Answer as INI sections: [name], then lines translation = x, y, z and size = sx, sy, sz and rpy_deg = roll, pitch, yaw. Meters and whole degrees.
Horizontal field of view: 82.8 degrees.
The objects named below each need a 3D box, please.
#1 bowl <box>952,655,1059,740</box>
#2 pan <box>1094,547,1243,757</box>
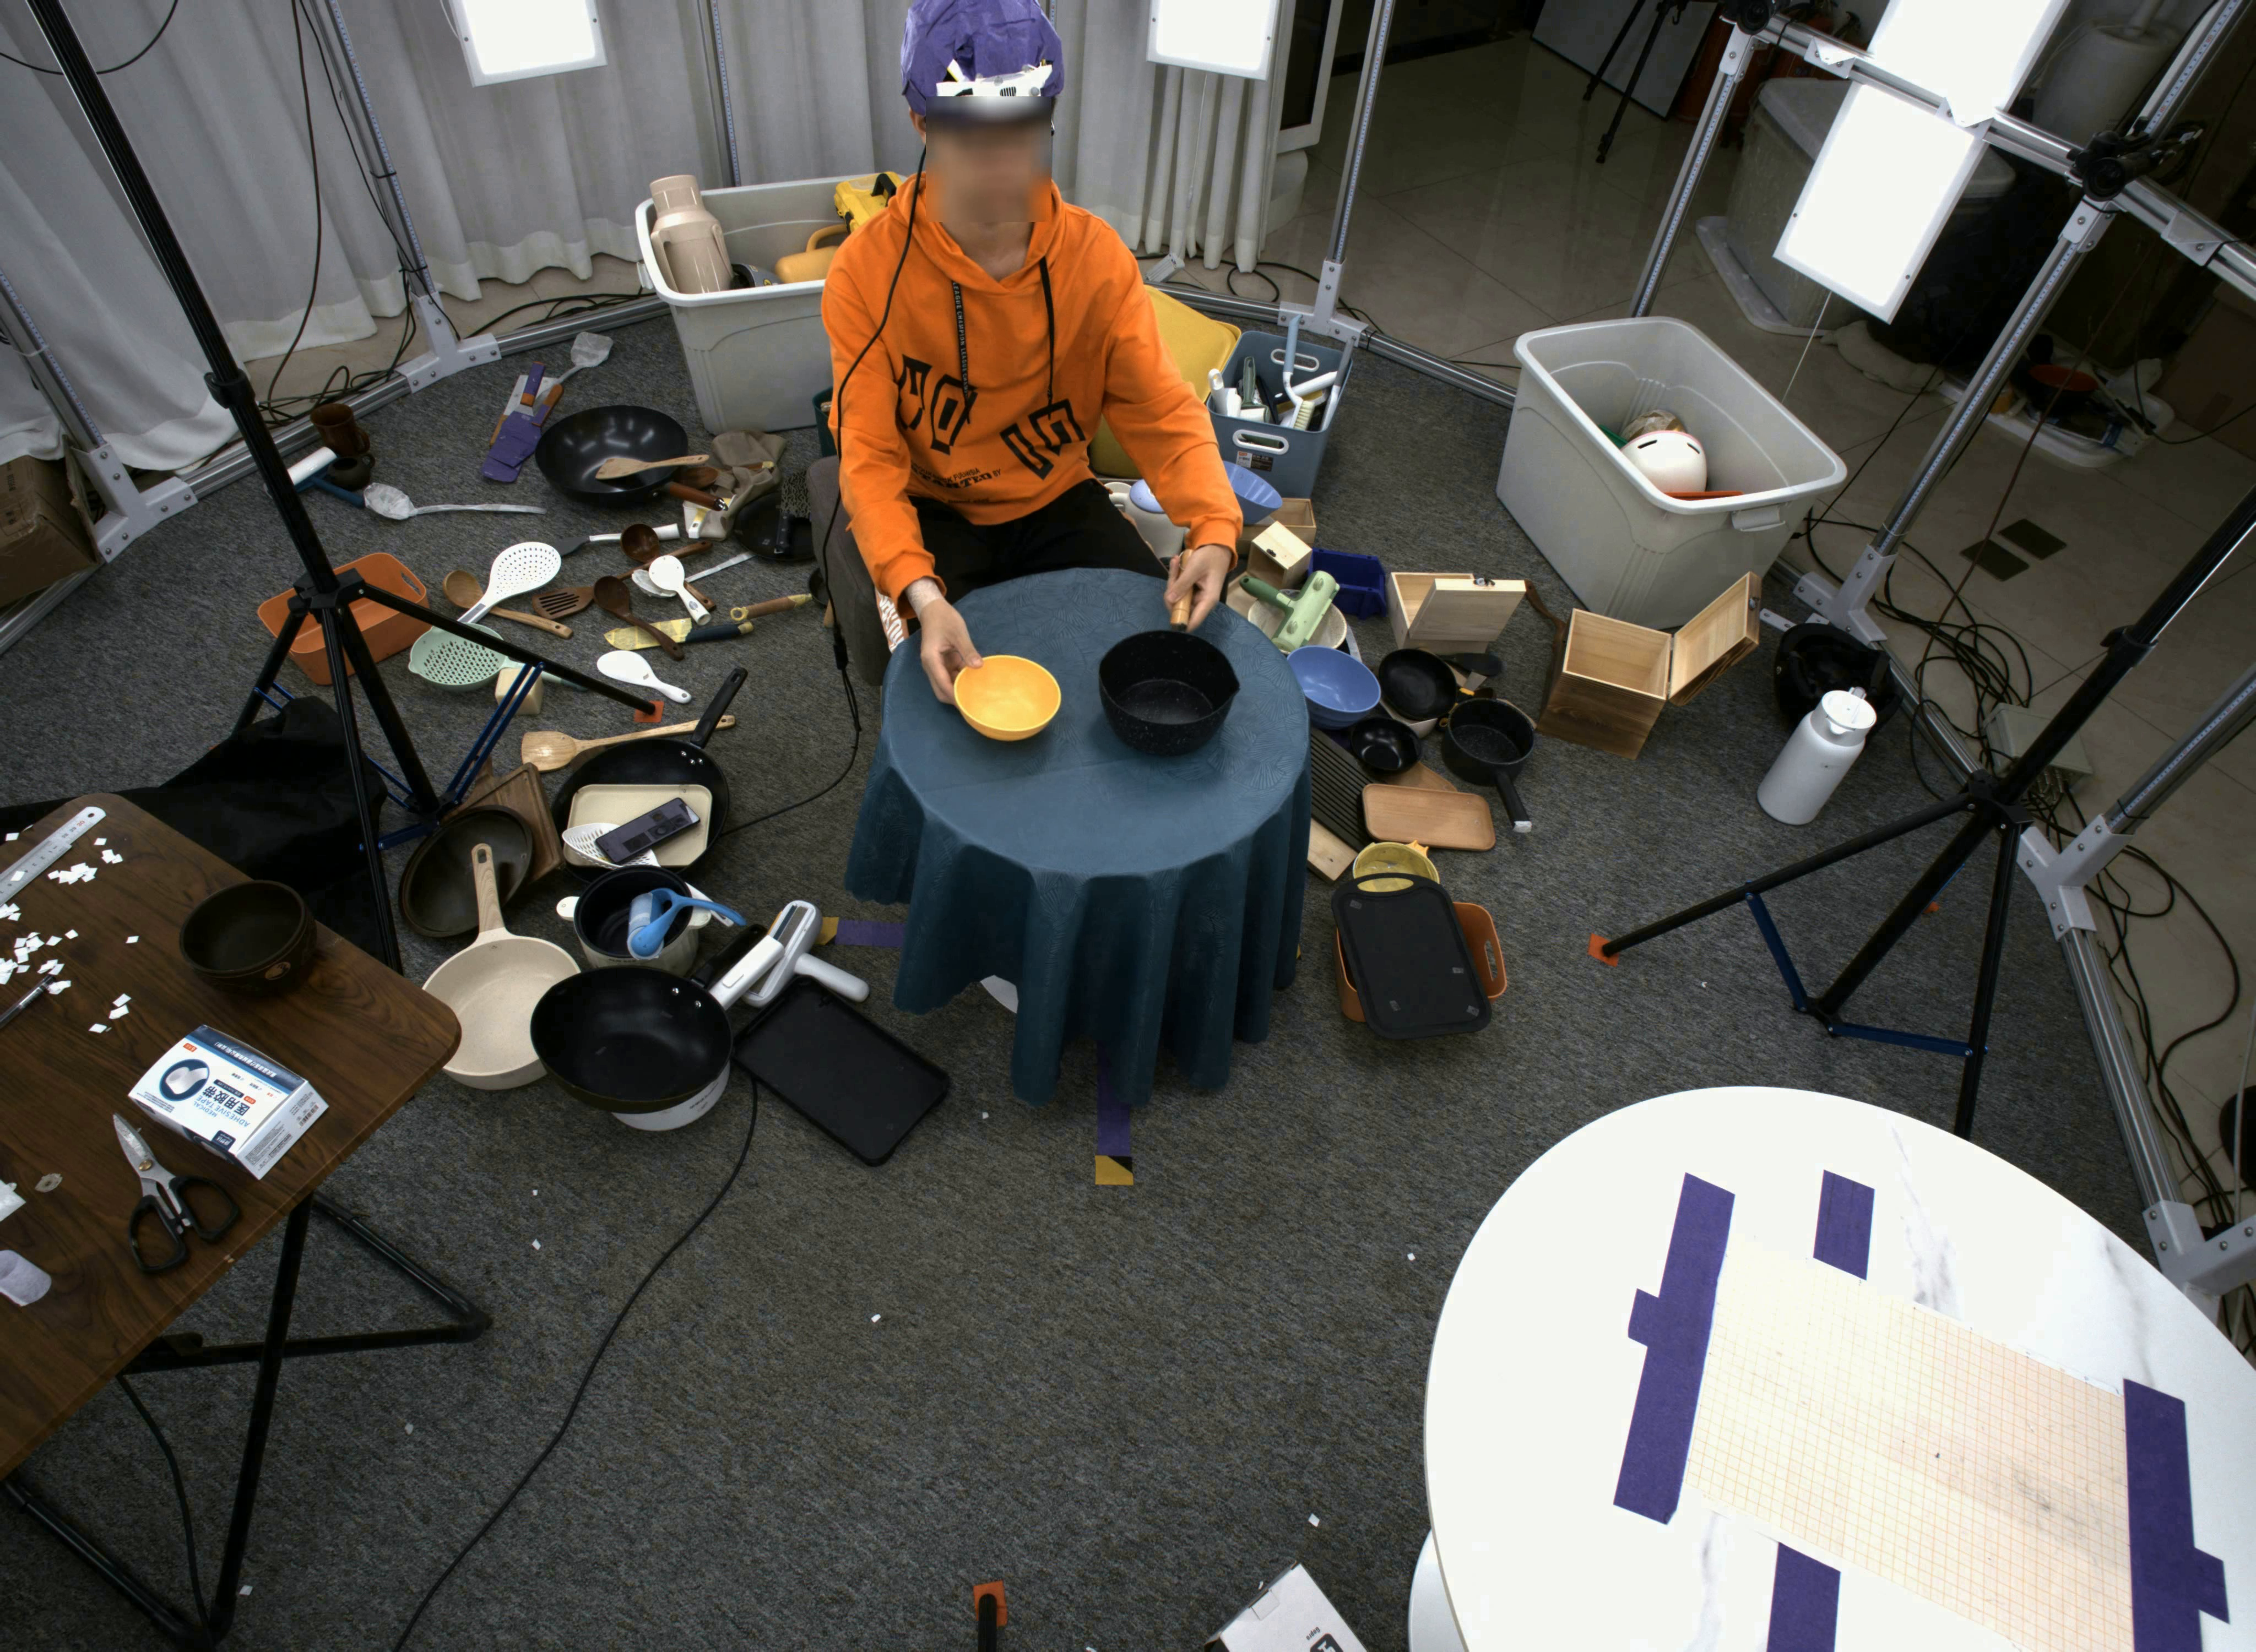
[bowl]
translation = -0.169, -0.164, 1.752
size = 0.145, 0.059, 0.149
rpy_deg = 6, 48, -7
[pan]
translation = 0.064, -0.247, 1.816
size = 0.207, 0.105, 0.351
rpy_deg = 7, 51, 4
